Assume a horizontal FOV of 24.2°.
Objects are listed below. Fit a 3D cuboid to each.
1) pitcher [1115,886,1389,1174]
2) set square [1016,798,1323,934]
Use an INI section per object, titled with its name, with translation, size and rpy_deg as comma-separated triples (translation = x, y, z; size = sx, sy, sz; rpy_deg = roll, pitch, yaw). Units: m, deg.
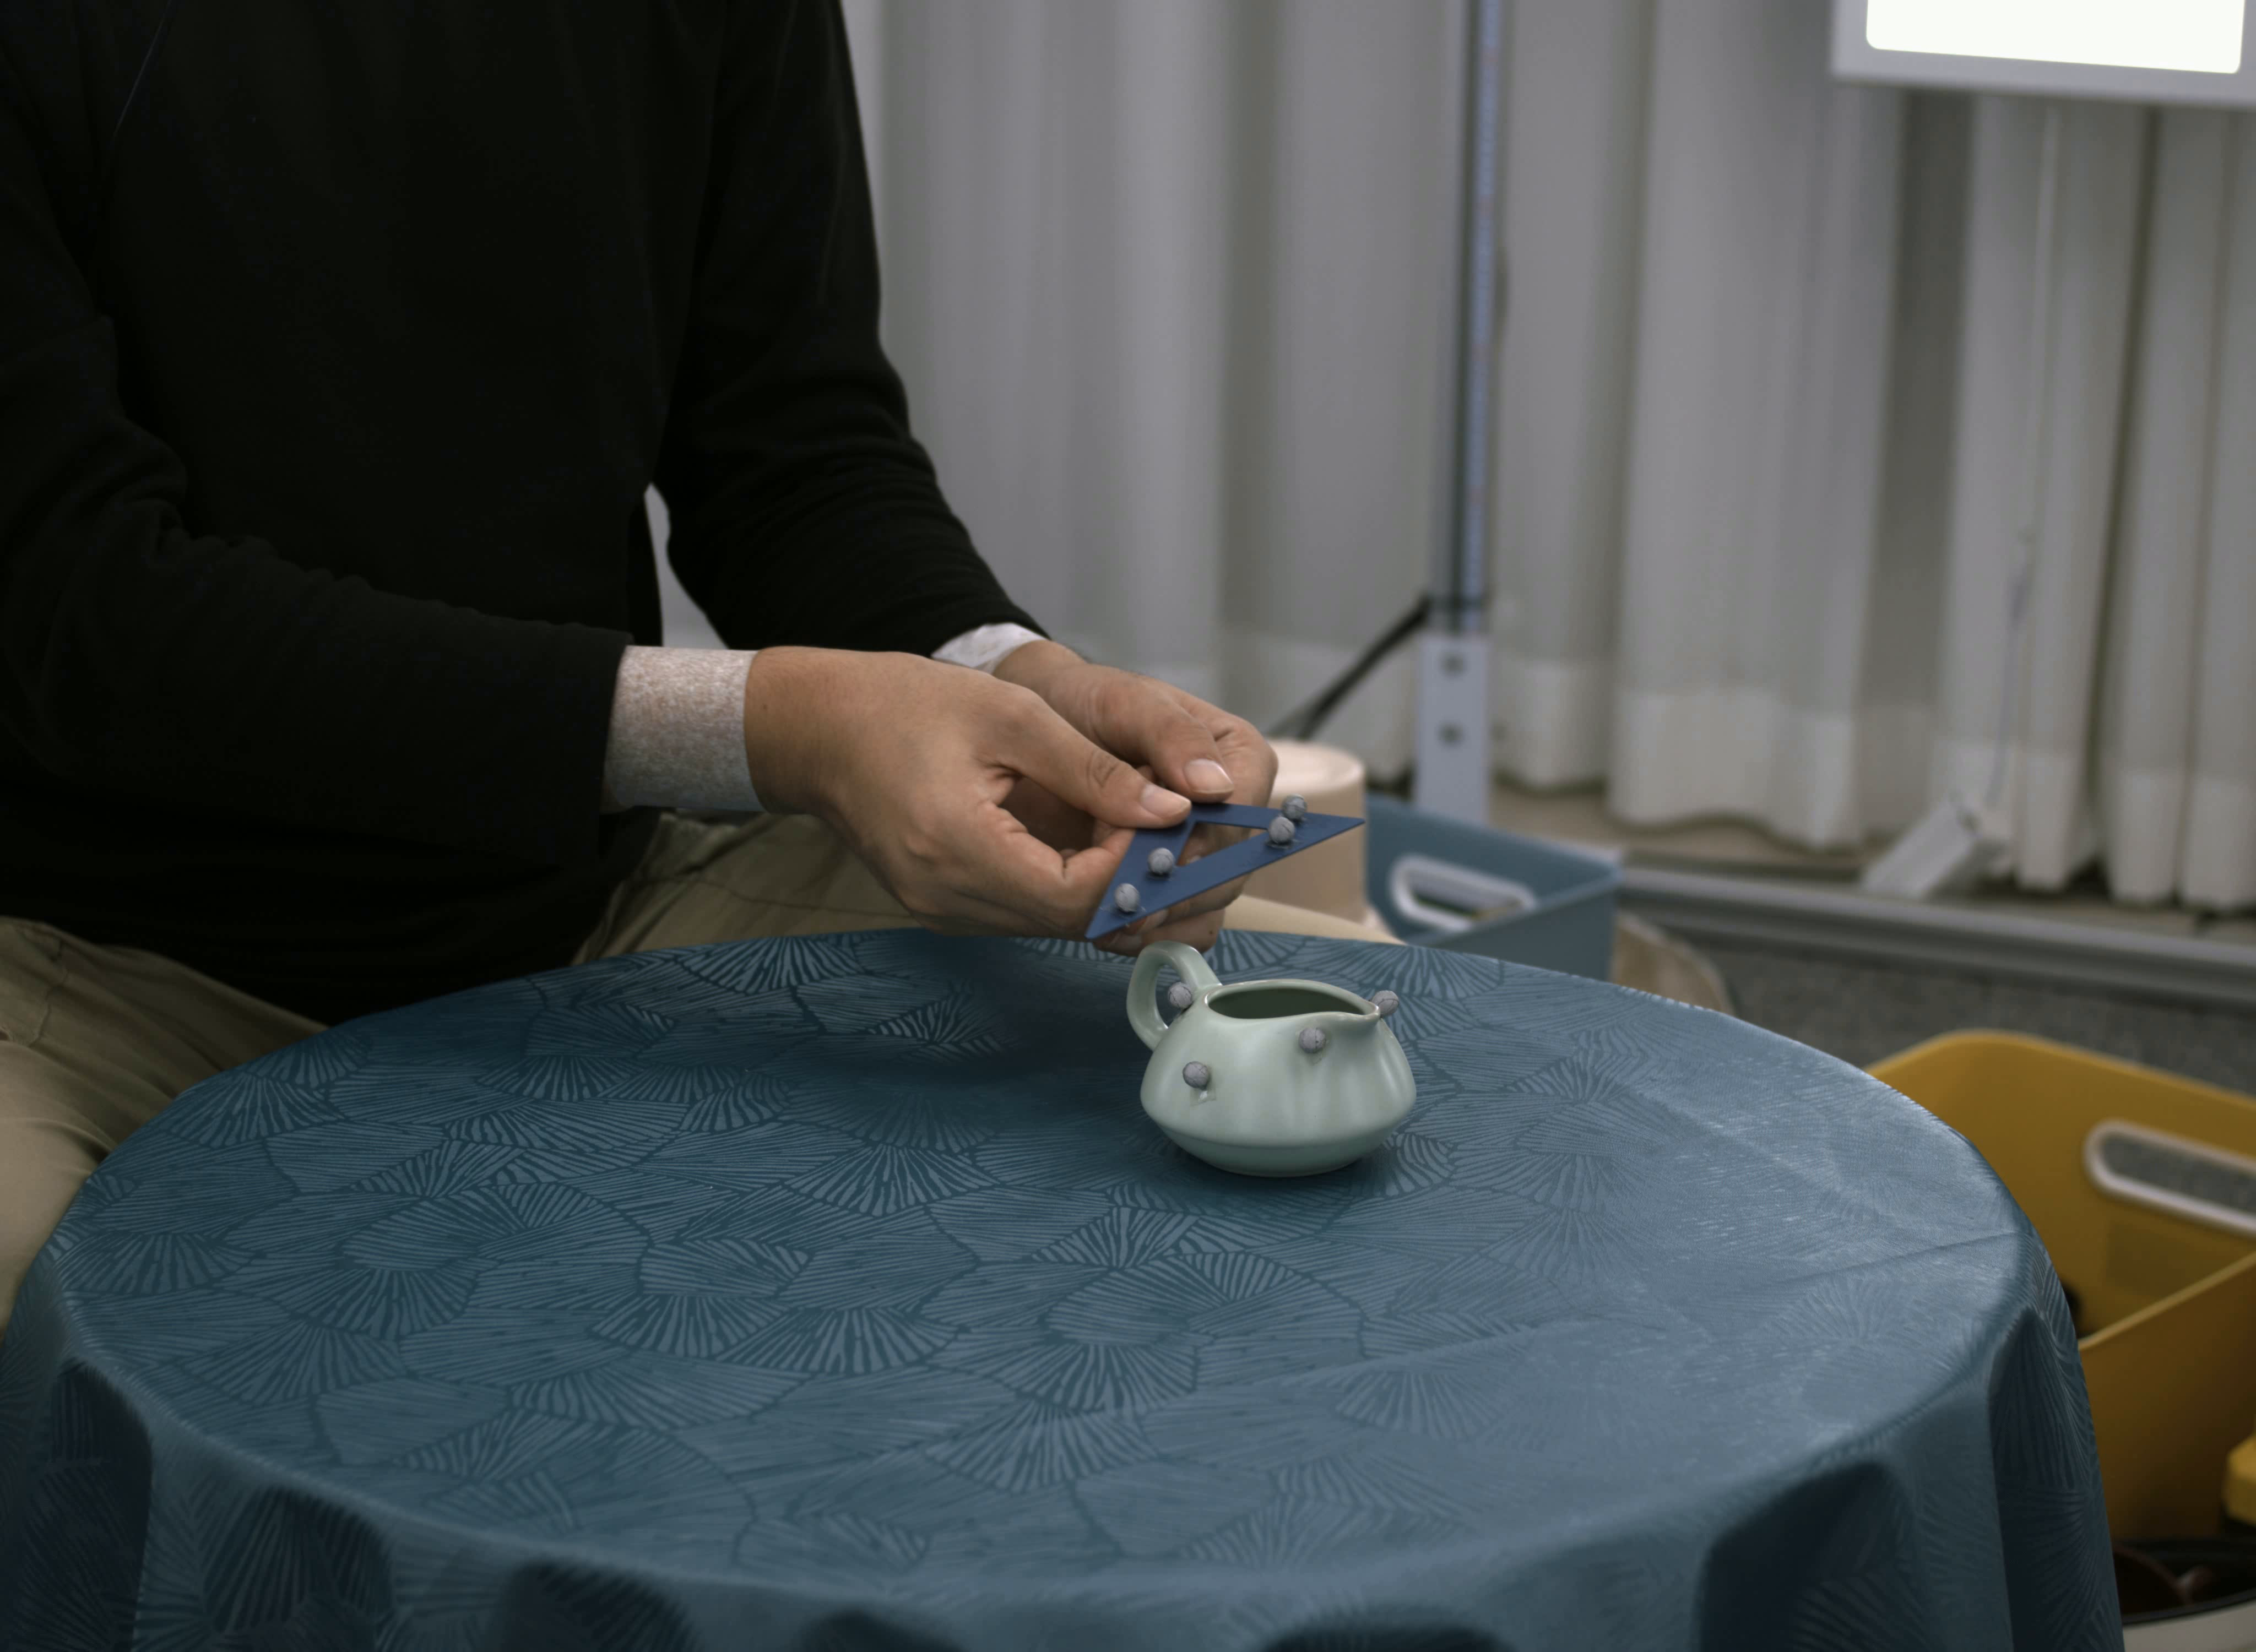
[pitcher]
translation = 0.034, 0.066, 1.663
size = 0.086, 0.061, 0.106
rpy_deg = -17, 39, -23
[set square]
translation = -0.001, 0.008, 1.686
size = 0.060, 0.006, 0.132
rpy_deg = 23, 30, 39
